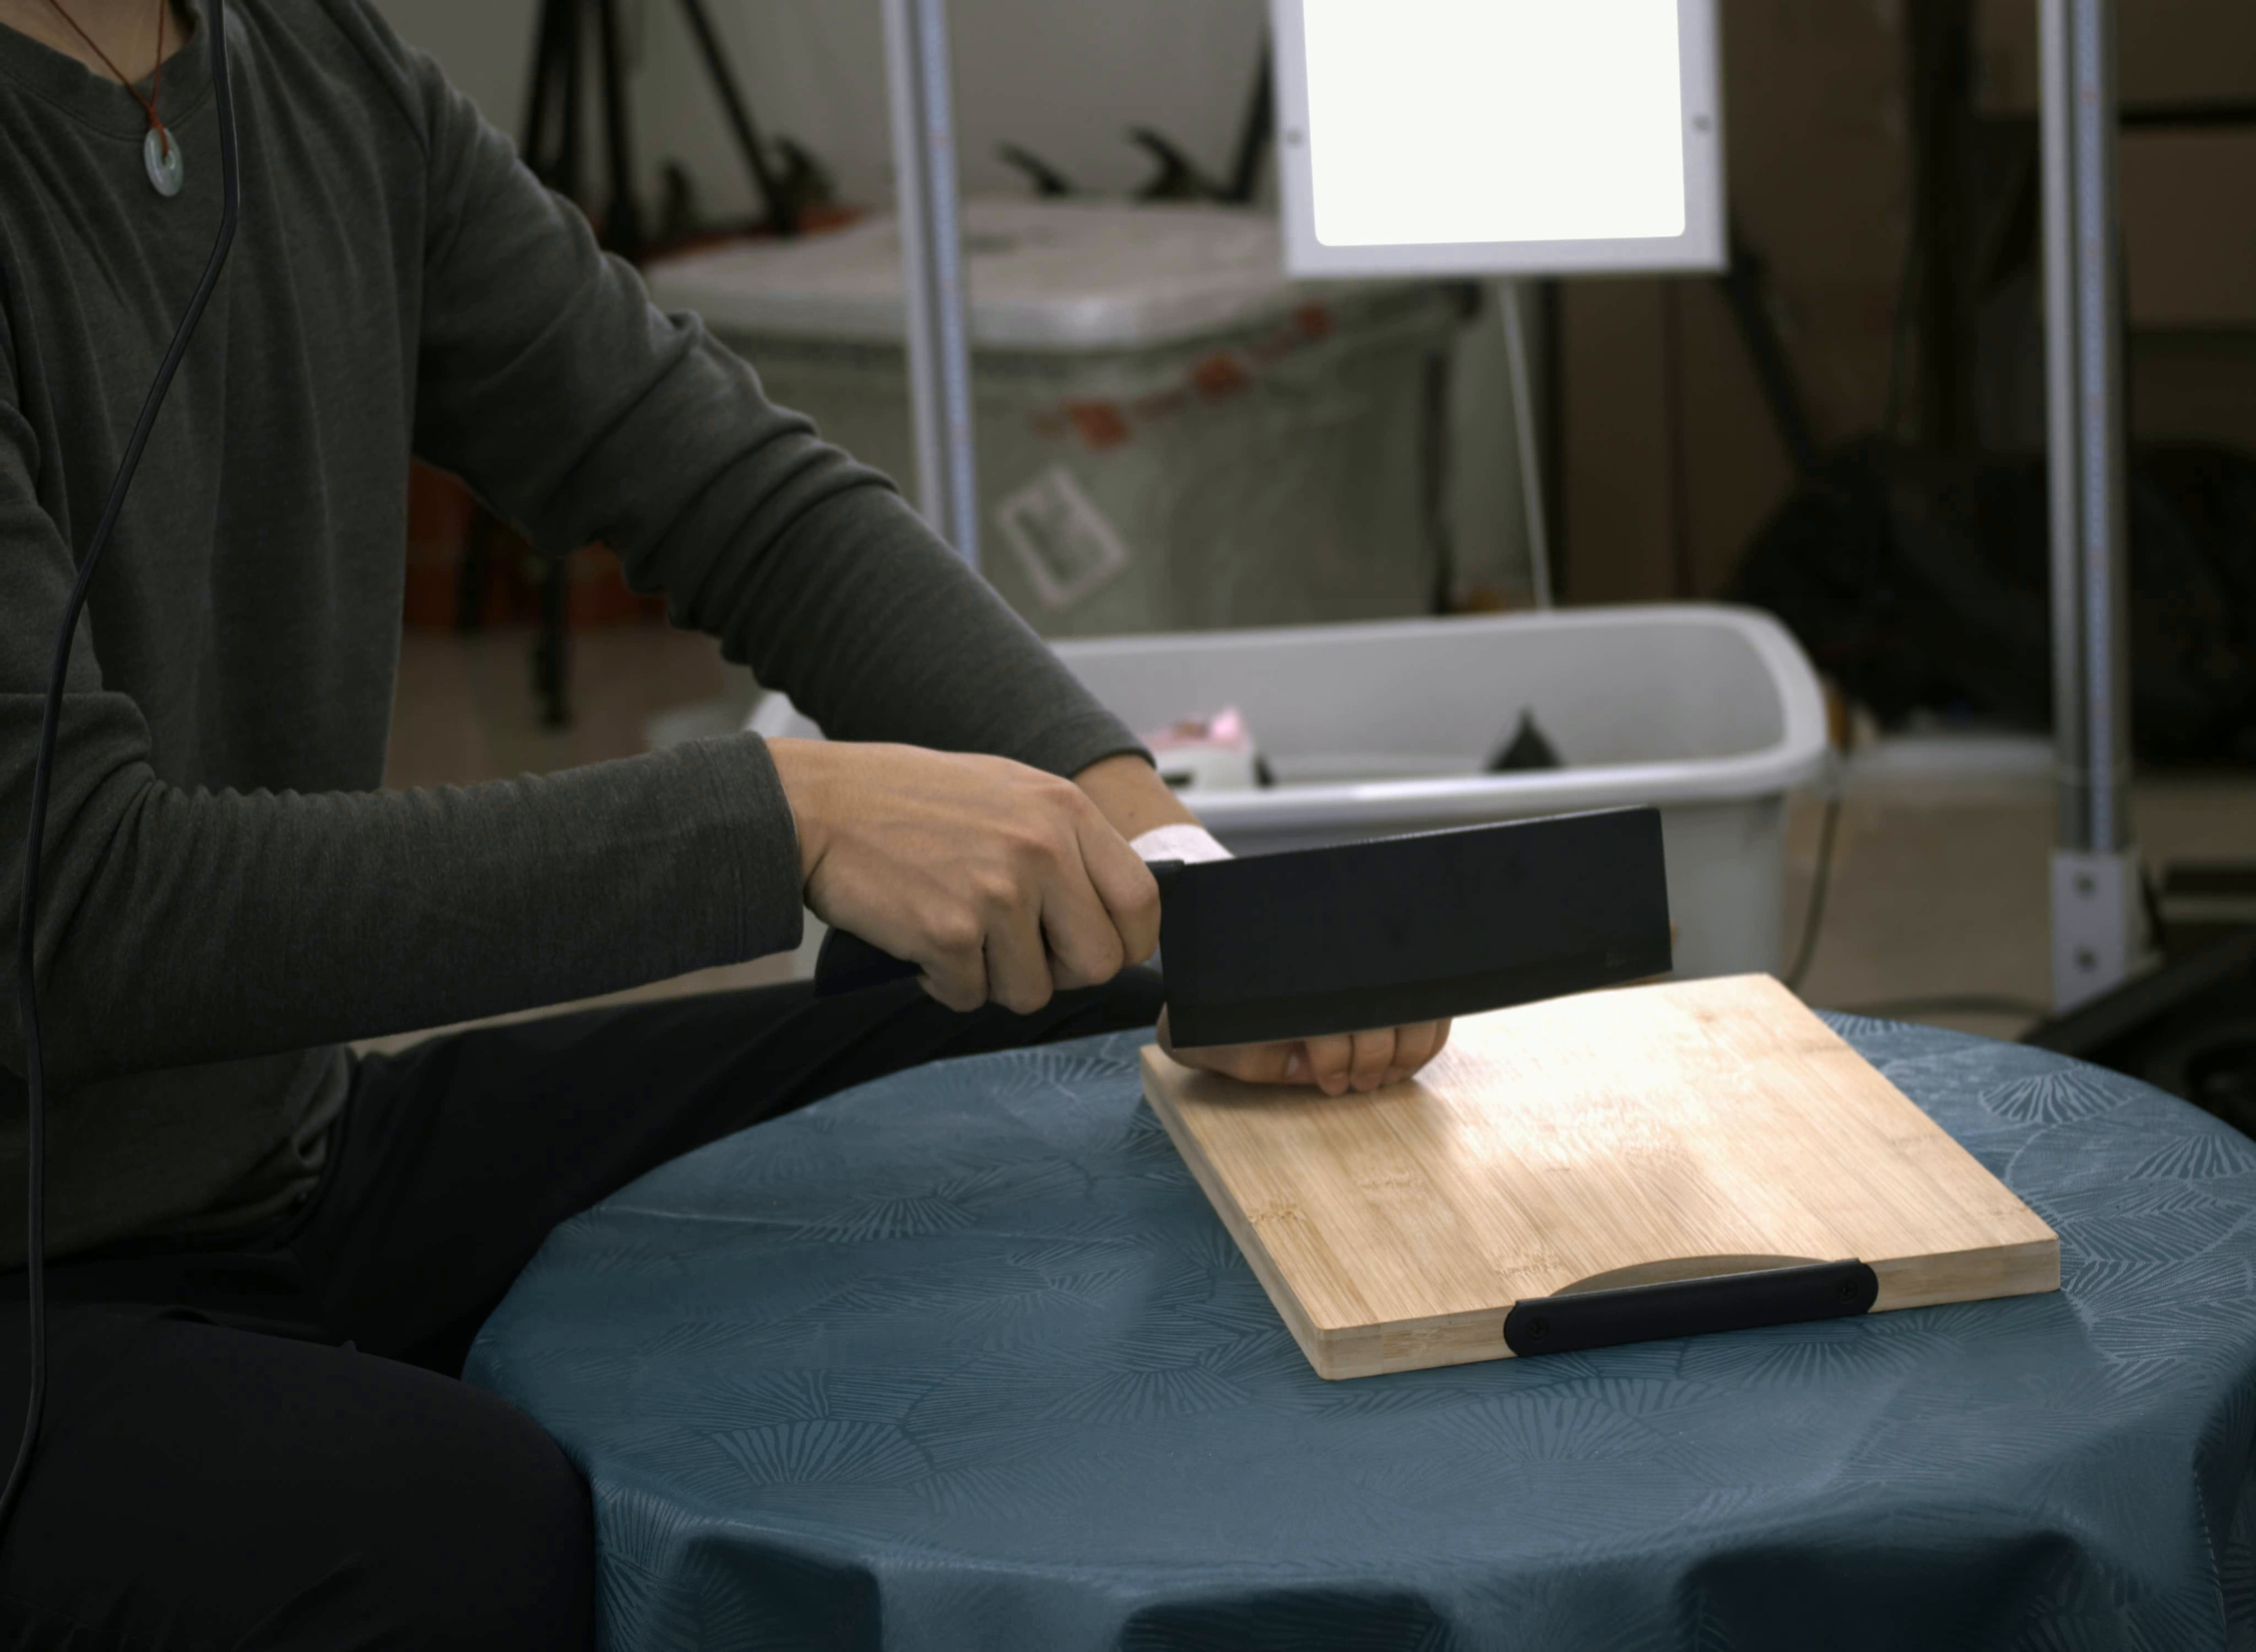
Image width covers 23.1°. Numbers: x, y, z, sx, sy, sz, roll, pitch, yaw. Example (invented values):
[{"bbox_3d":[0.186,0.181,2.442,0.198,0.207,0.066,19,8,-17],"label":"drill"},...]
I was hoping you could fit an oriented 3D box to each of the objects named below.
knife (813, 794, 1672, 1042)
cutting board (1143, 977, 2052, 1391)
[{"bbox_3d":[0.041,0.035,1.902,0.300,0.081,0.021,-3,8,-5],"label":"knife"},{"bbox_3d":[0.150,0.115,1.863,0.248,0.023,0.350,-8,14,-7],"label":"cutting board"}]
